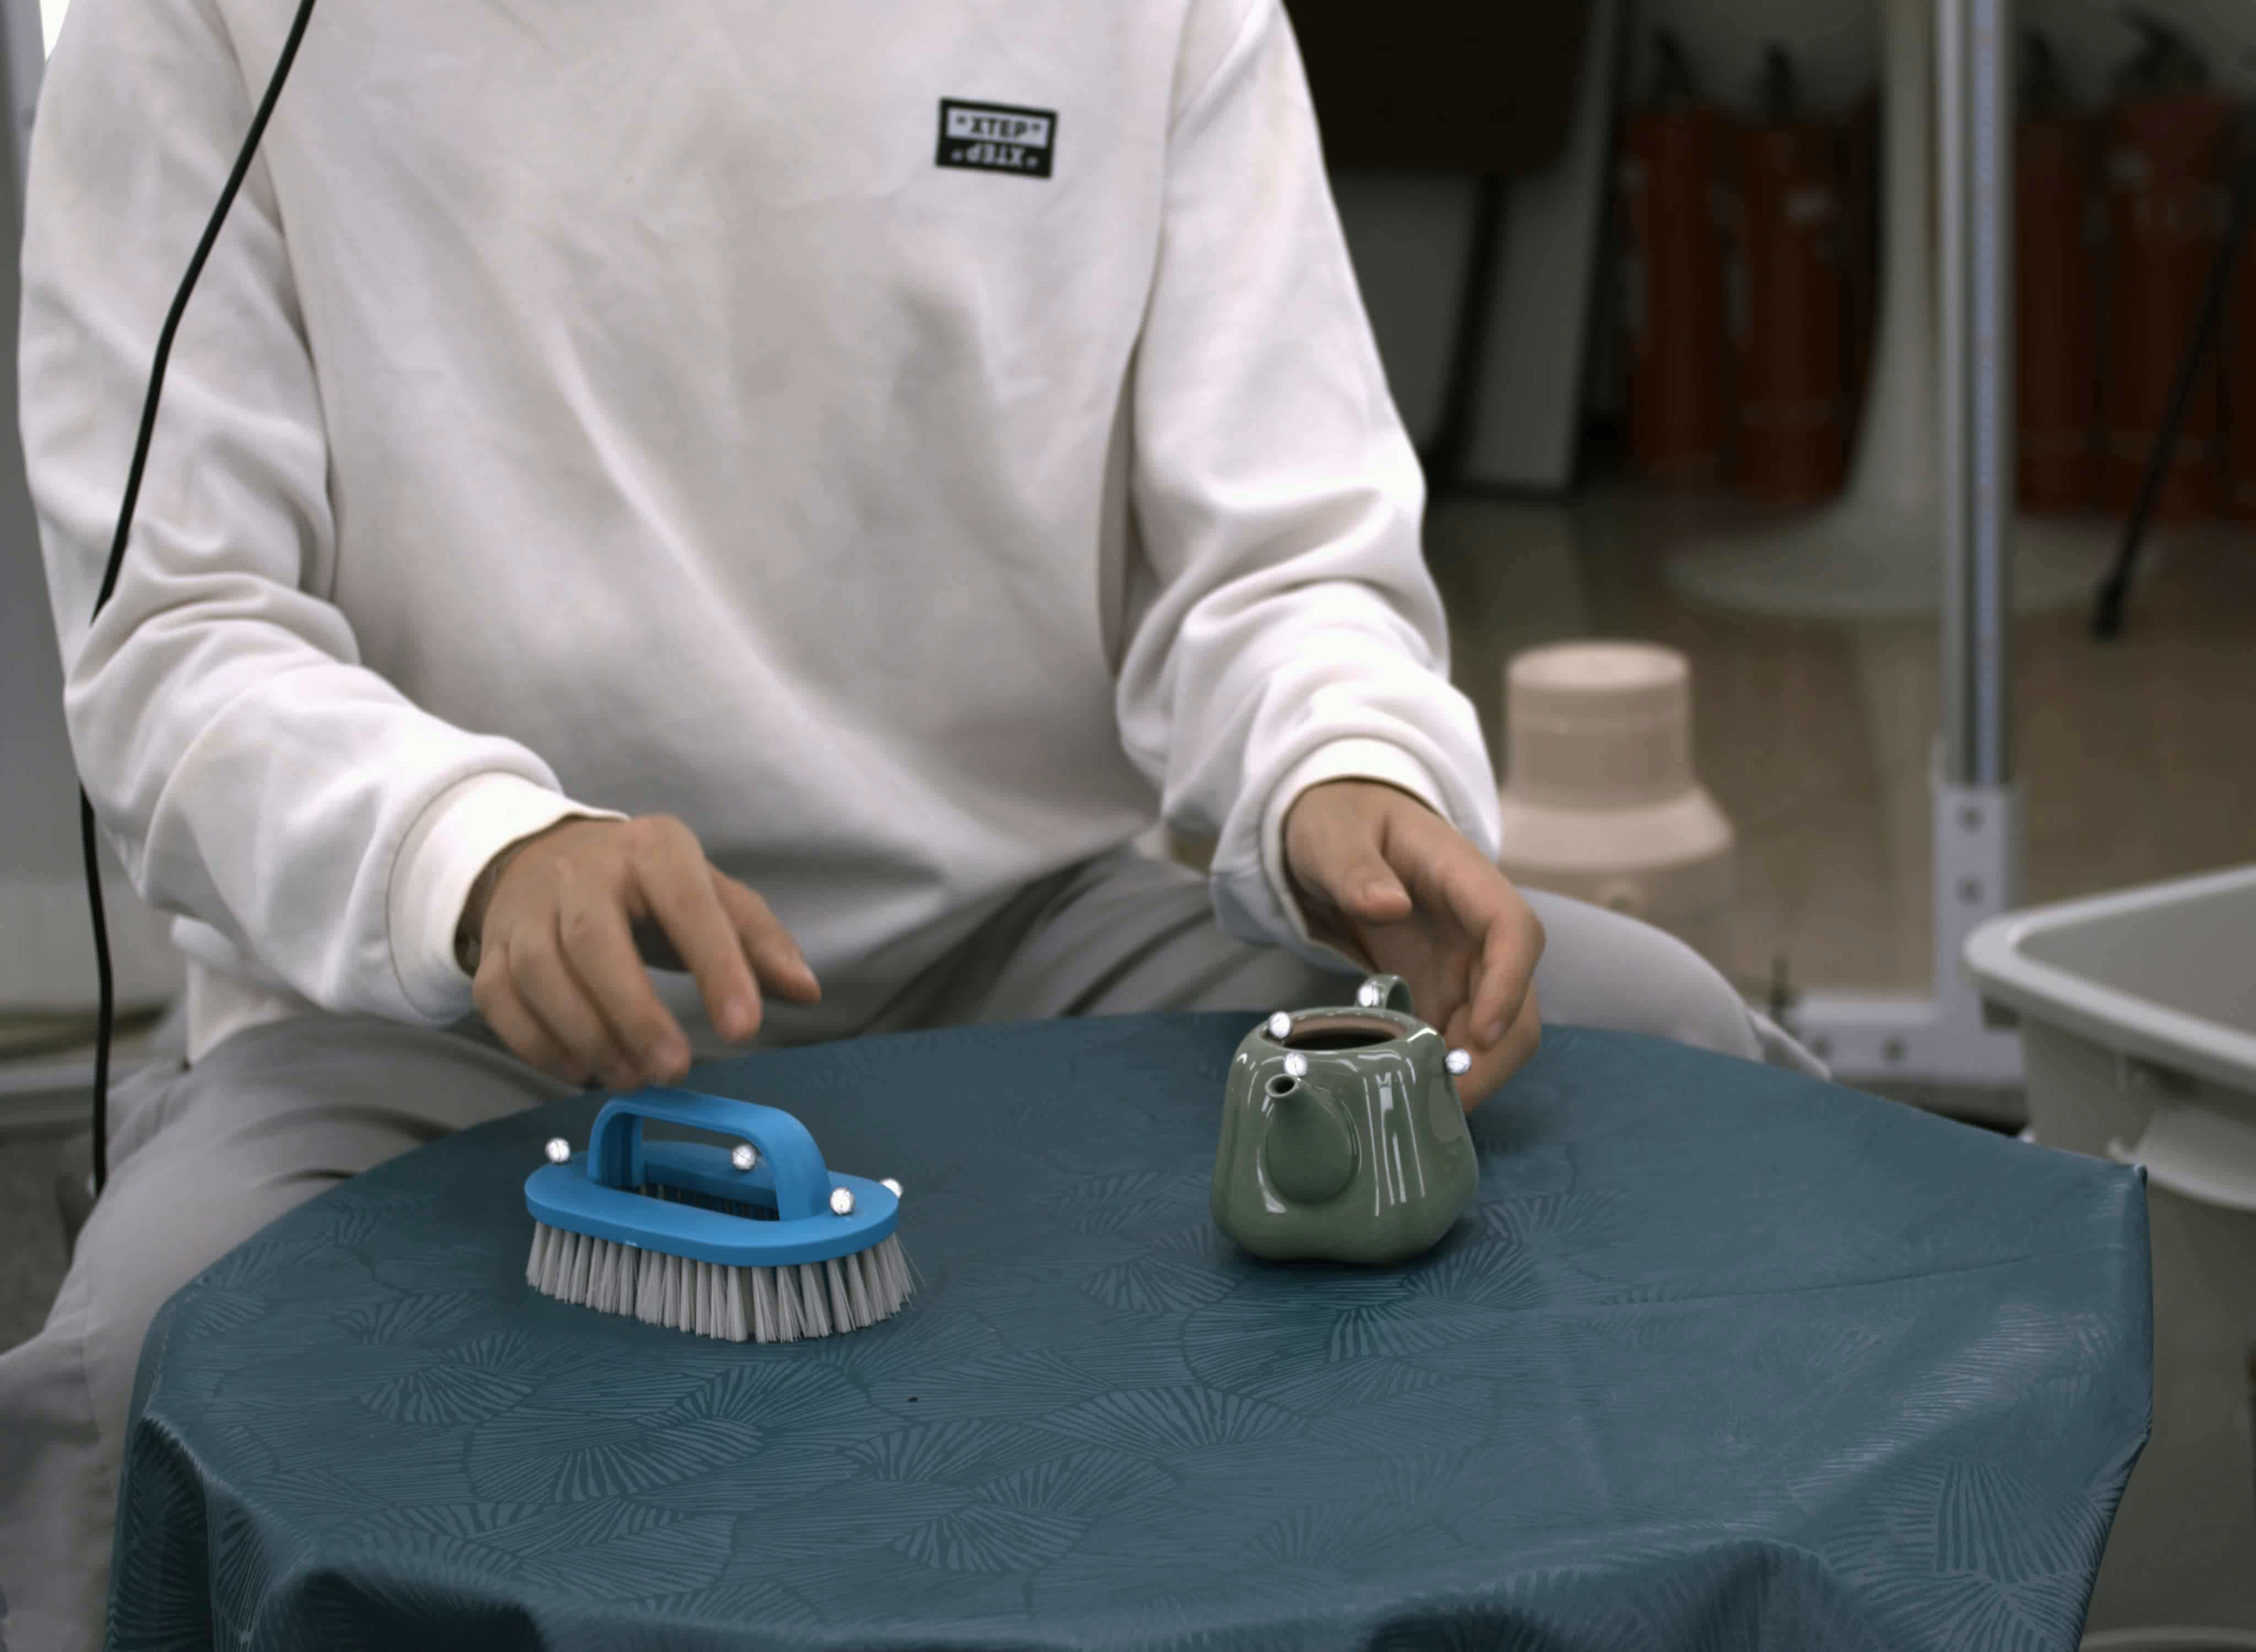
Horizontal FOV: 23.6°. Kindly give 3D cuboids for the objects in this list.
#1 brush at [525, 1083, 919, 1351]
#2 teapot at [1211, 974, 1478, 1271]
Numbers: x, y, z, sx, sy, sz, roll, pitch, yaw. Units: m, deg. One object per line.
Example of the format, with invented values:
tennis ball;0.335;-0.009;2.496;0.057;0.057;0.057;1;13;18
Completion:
brush;-0.131;0.116;1.699;0.143;0.064;0.083;7;22;43
teapot;0.068;0.096;1.704;0.079;0.076;0.131;2;14;20
